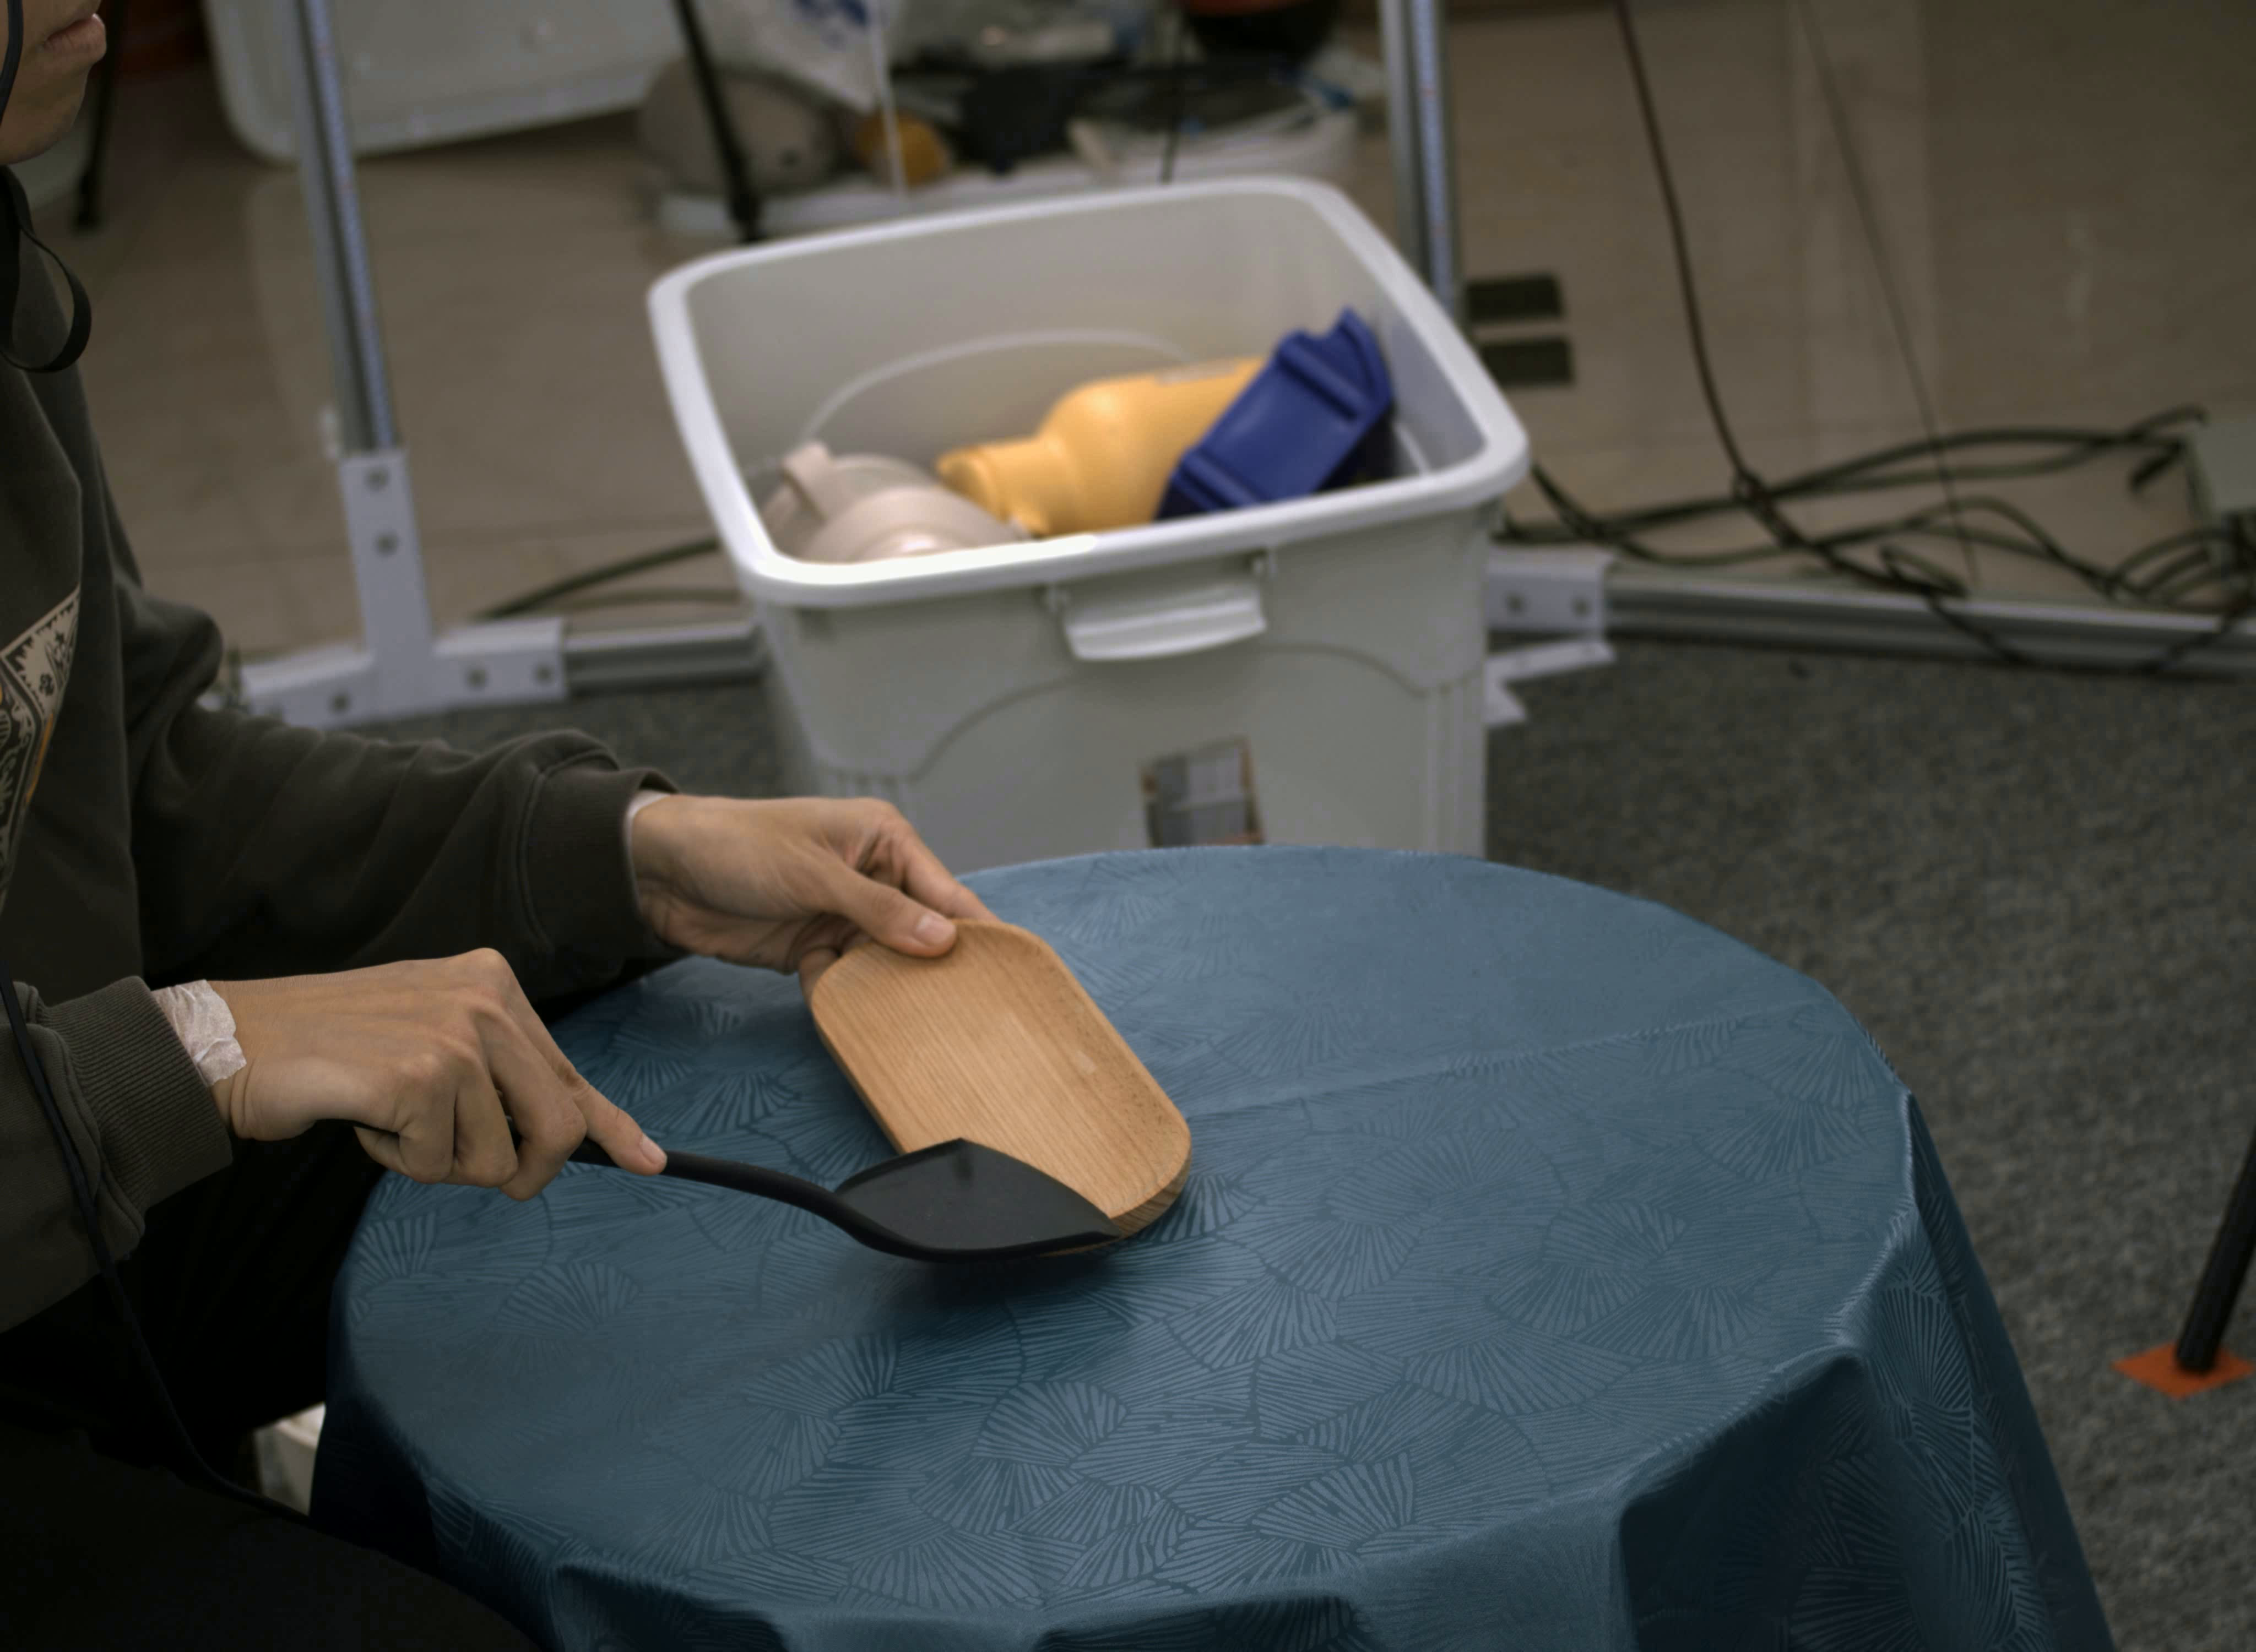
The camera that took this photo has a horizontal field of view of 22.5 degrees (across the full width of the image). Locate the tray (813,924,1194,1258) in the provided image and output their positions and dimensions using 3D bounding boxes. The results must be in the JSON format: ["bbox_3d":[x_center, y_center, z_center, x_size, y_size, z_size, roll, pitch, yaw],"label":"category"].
[{"bbox_3d":[-0.050,0.101,2.193,0.101,0.021,0.228,-19,35,-15],"label":"tray"}]

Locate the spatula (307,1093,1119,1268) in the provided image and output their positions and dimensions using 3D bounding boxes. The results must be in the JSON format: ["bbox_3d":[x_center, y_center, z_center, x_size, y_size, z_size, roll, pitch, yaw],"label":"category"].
[{"bbox_3d":[-0.151,0.117,2.024,0.328,0.040,0.099,17,7,-39],"label":"spatula"}]
